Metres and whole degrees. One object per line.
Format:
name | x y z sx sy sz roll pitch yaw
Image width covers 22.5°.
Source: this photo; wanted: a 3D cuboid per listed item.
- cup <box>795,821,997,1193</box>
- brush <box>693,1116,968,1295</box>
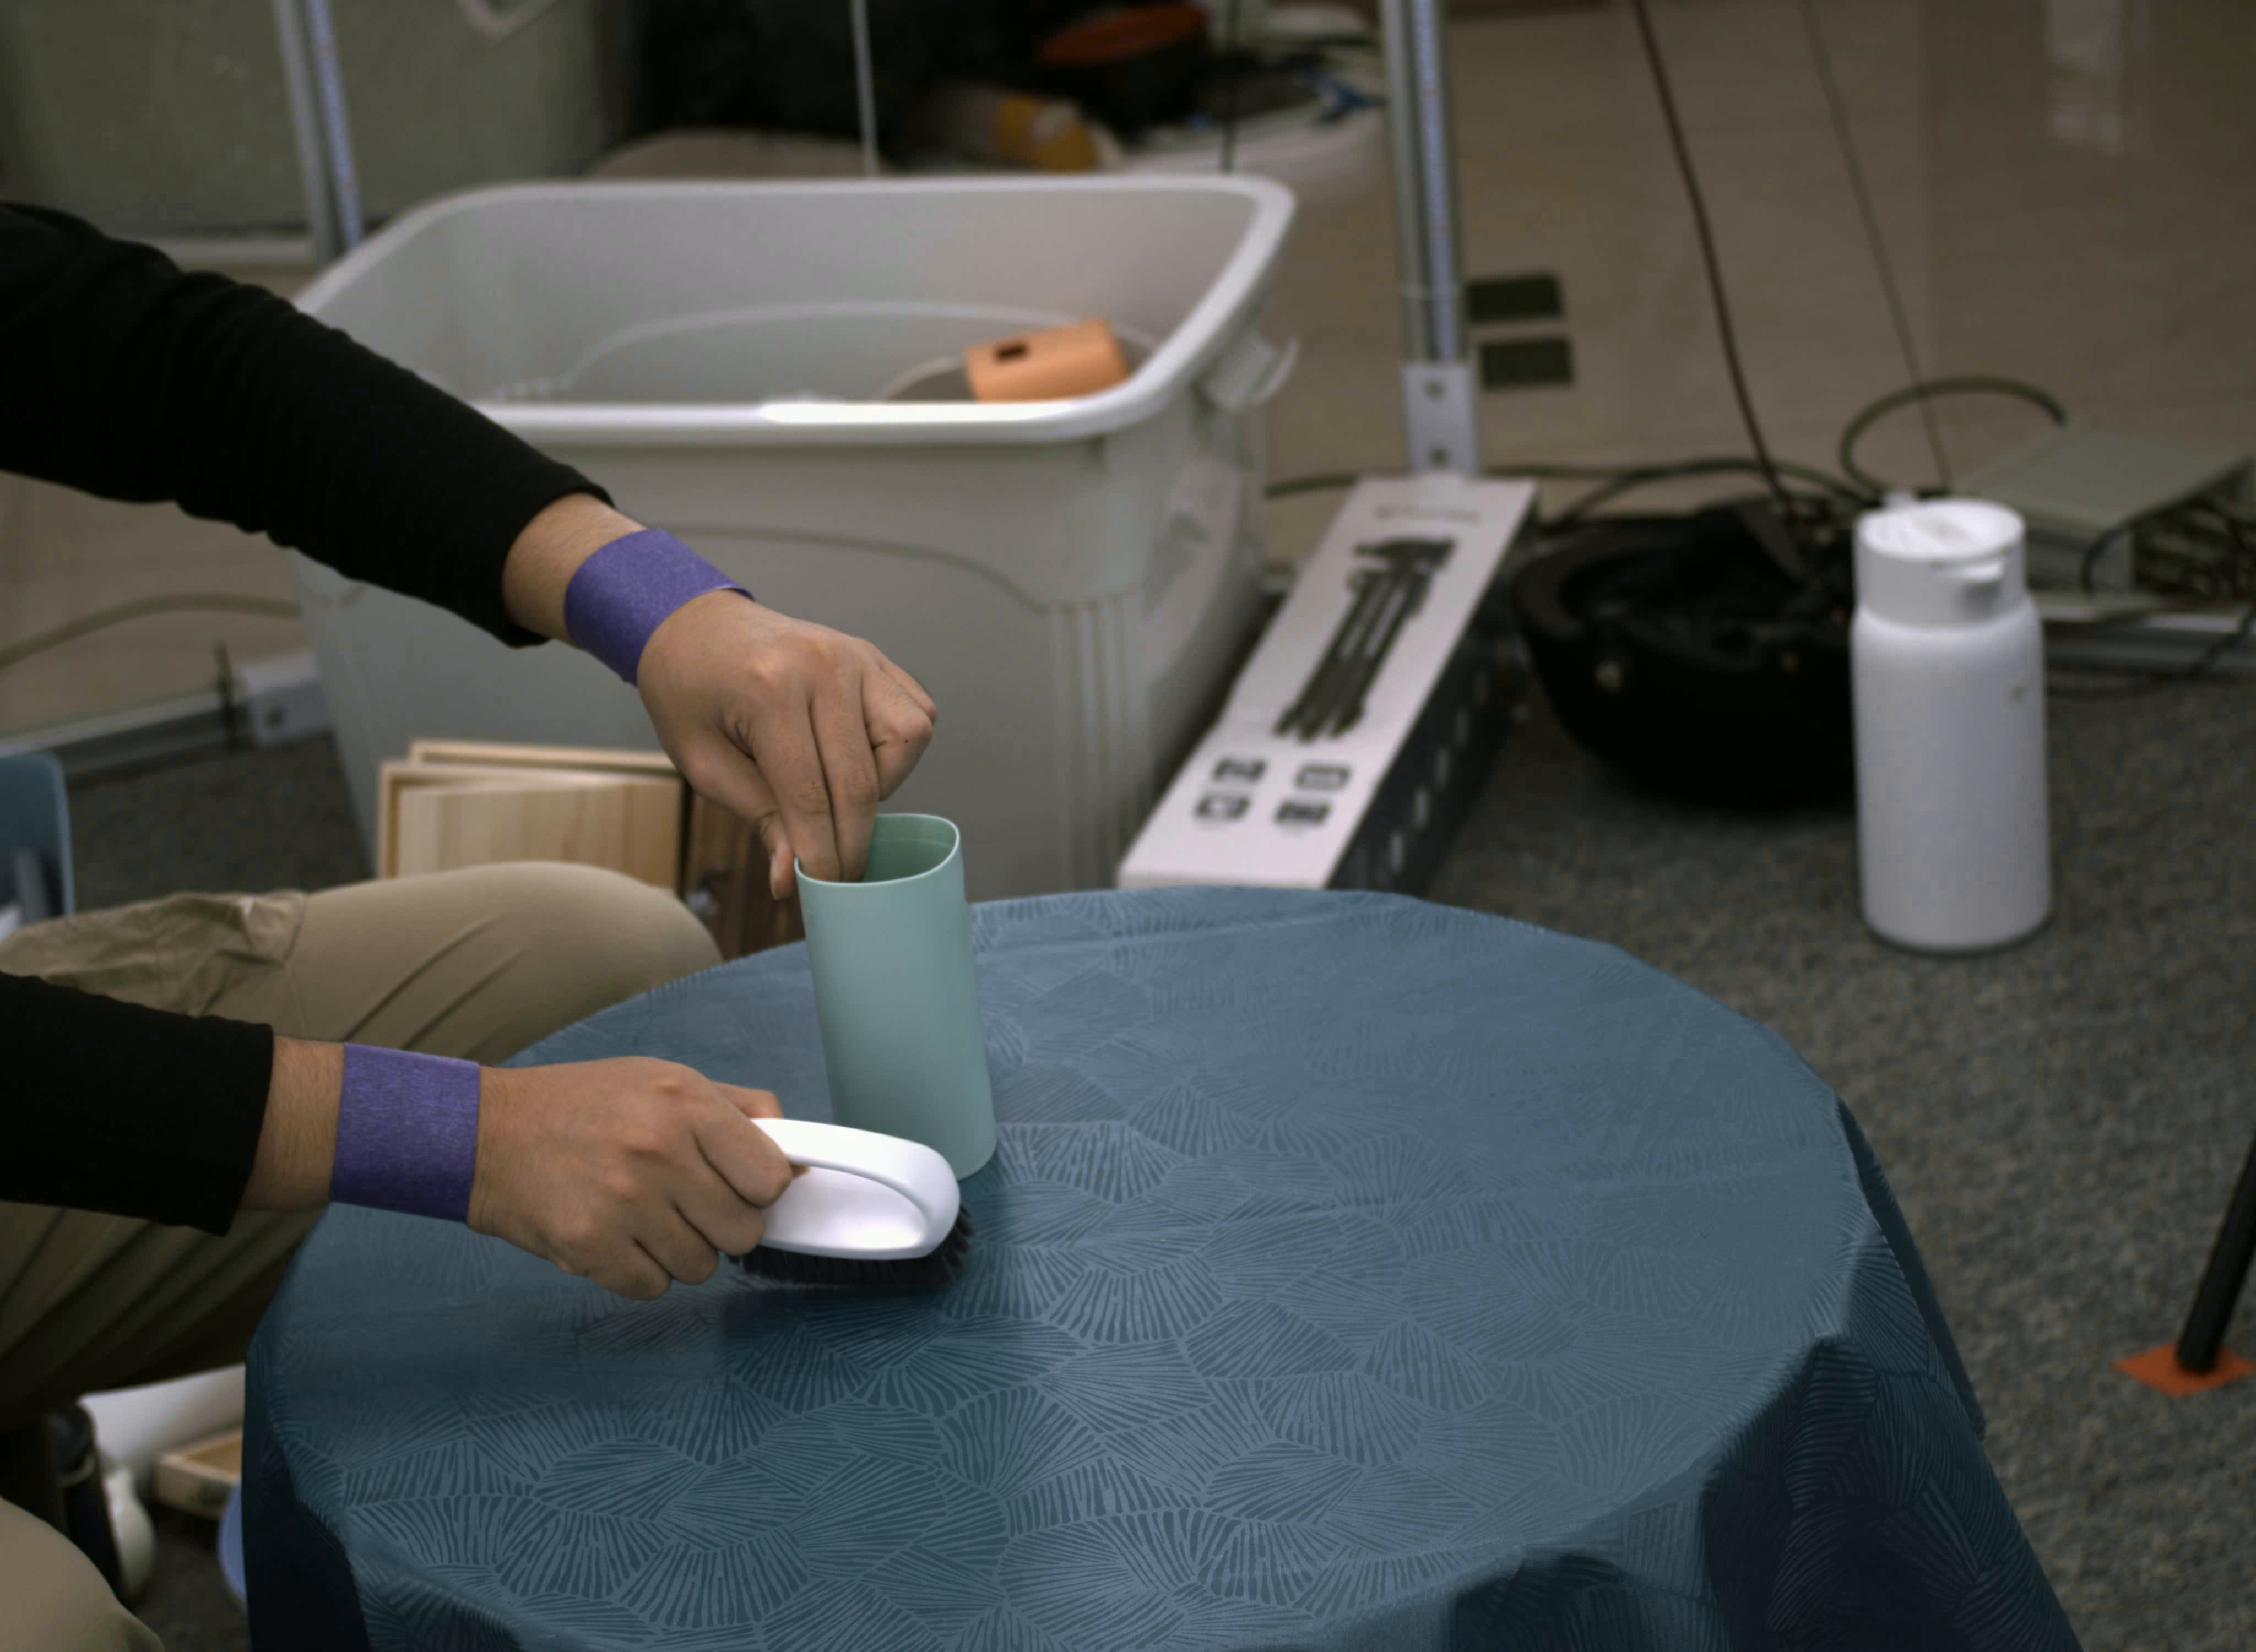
cup | -0.088 0.071 2.167 0.066 0.134 0.066 -5 26 2
brush | -0.113 0.131 2.085 0.099 0.073 0.049 10 63 16
